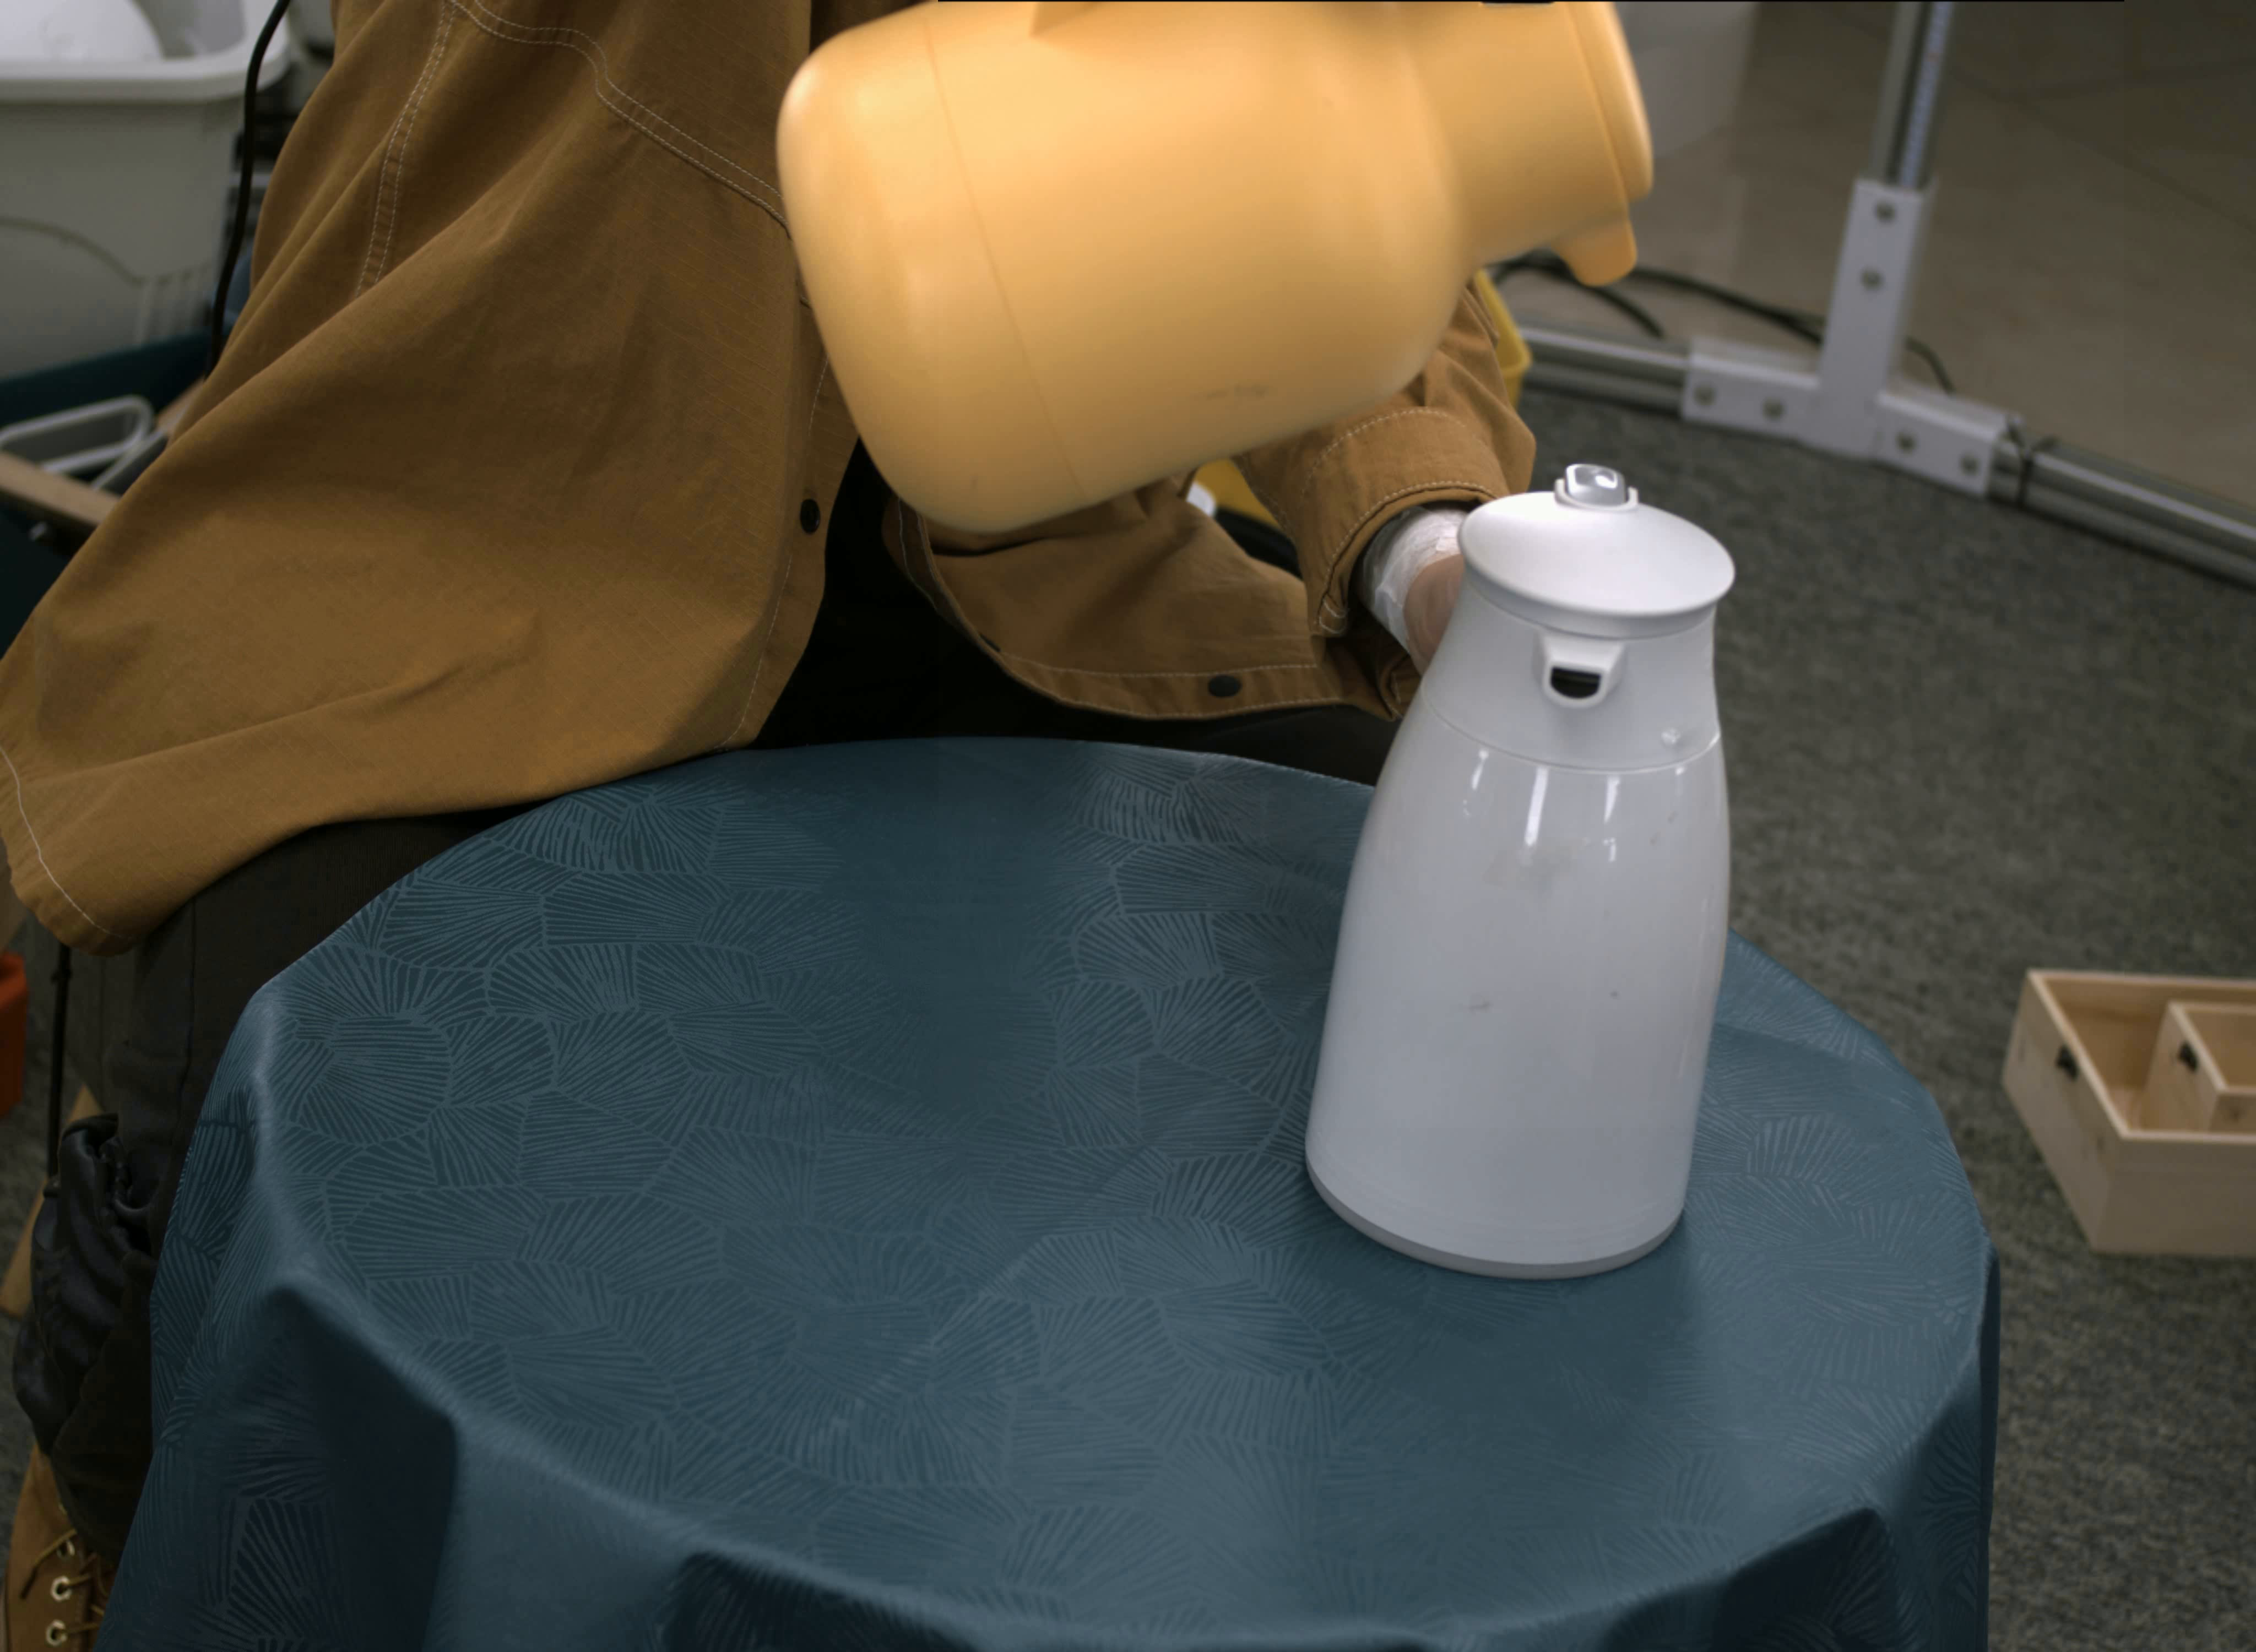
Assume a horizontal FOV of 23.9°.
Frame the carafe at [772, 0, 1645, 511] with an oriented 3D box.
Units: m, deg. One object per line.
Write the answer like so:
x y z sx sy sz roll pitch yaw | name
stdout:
0.023 -0.218 1.635 0.260 0.201 0.165 -16 34 3 | carafe

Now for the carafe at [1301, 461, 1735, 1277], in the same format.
0.140 0.003 1.800 0.132 0.248 0.168 9 26 4 | carafe
